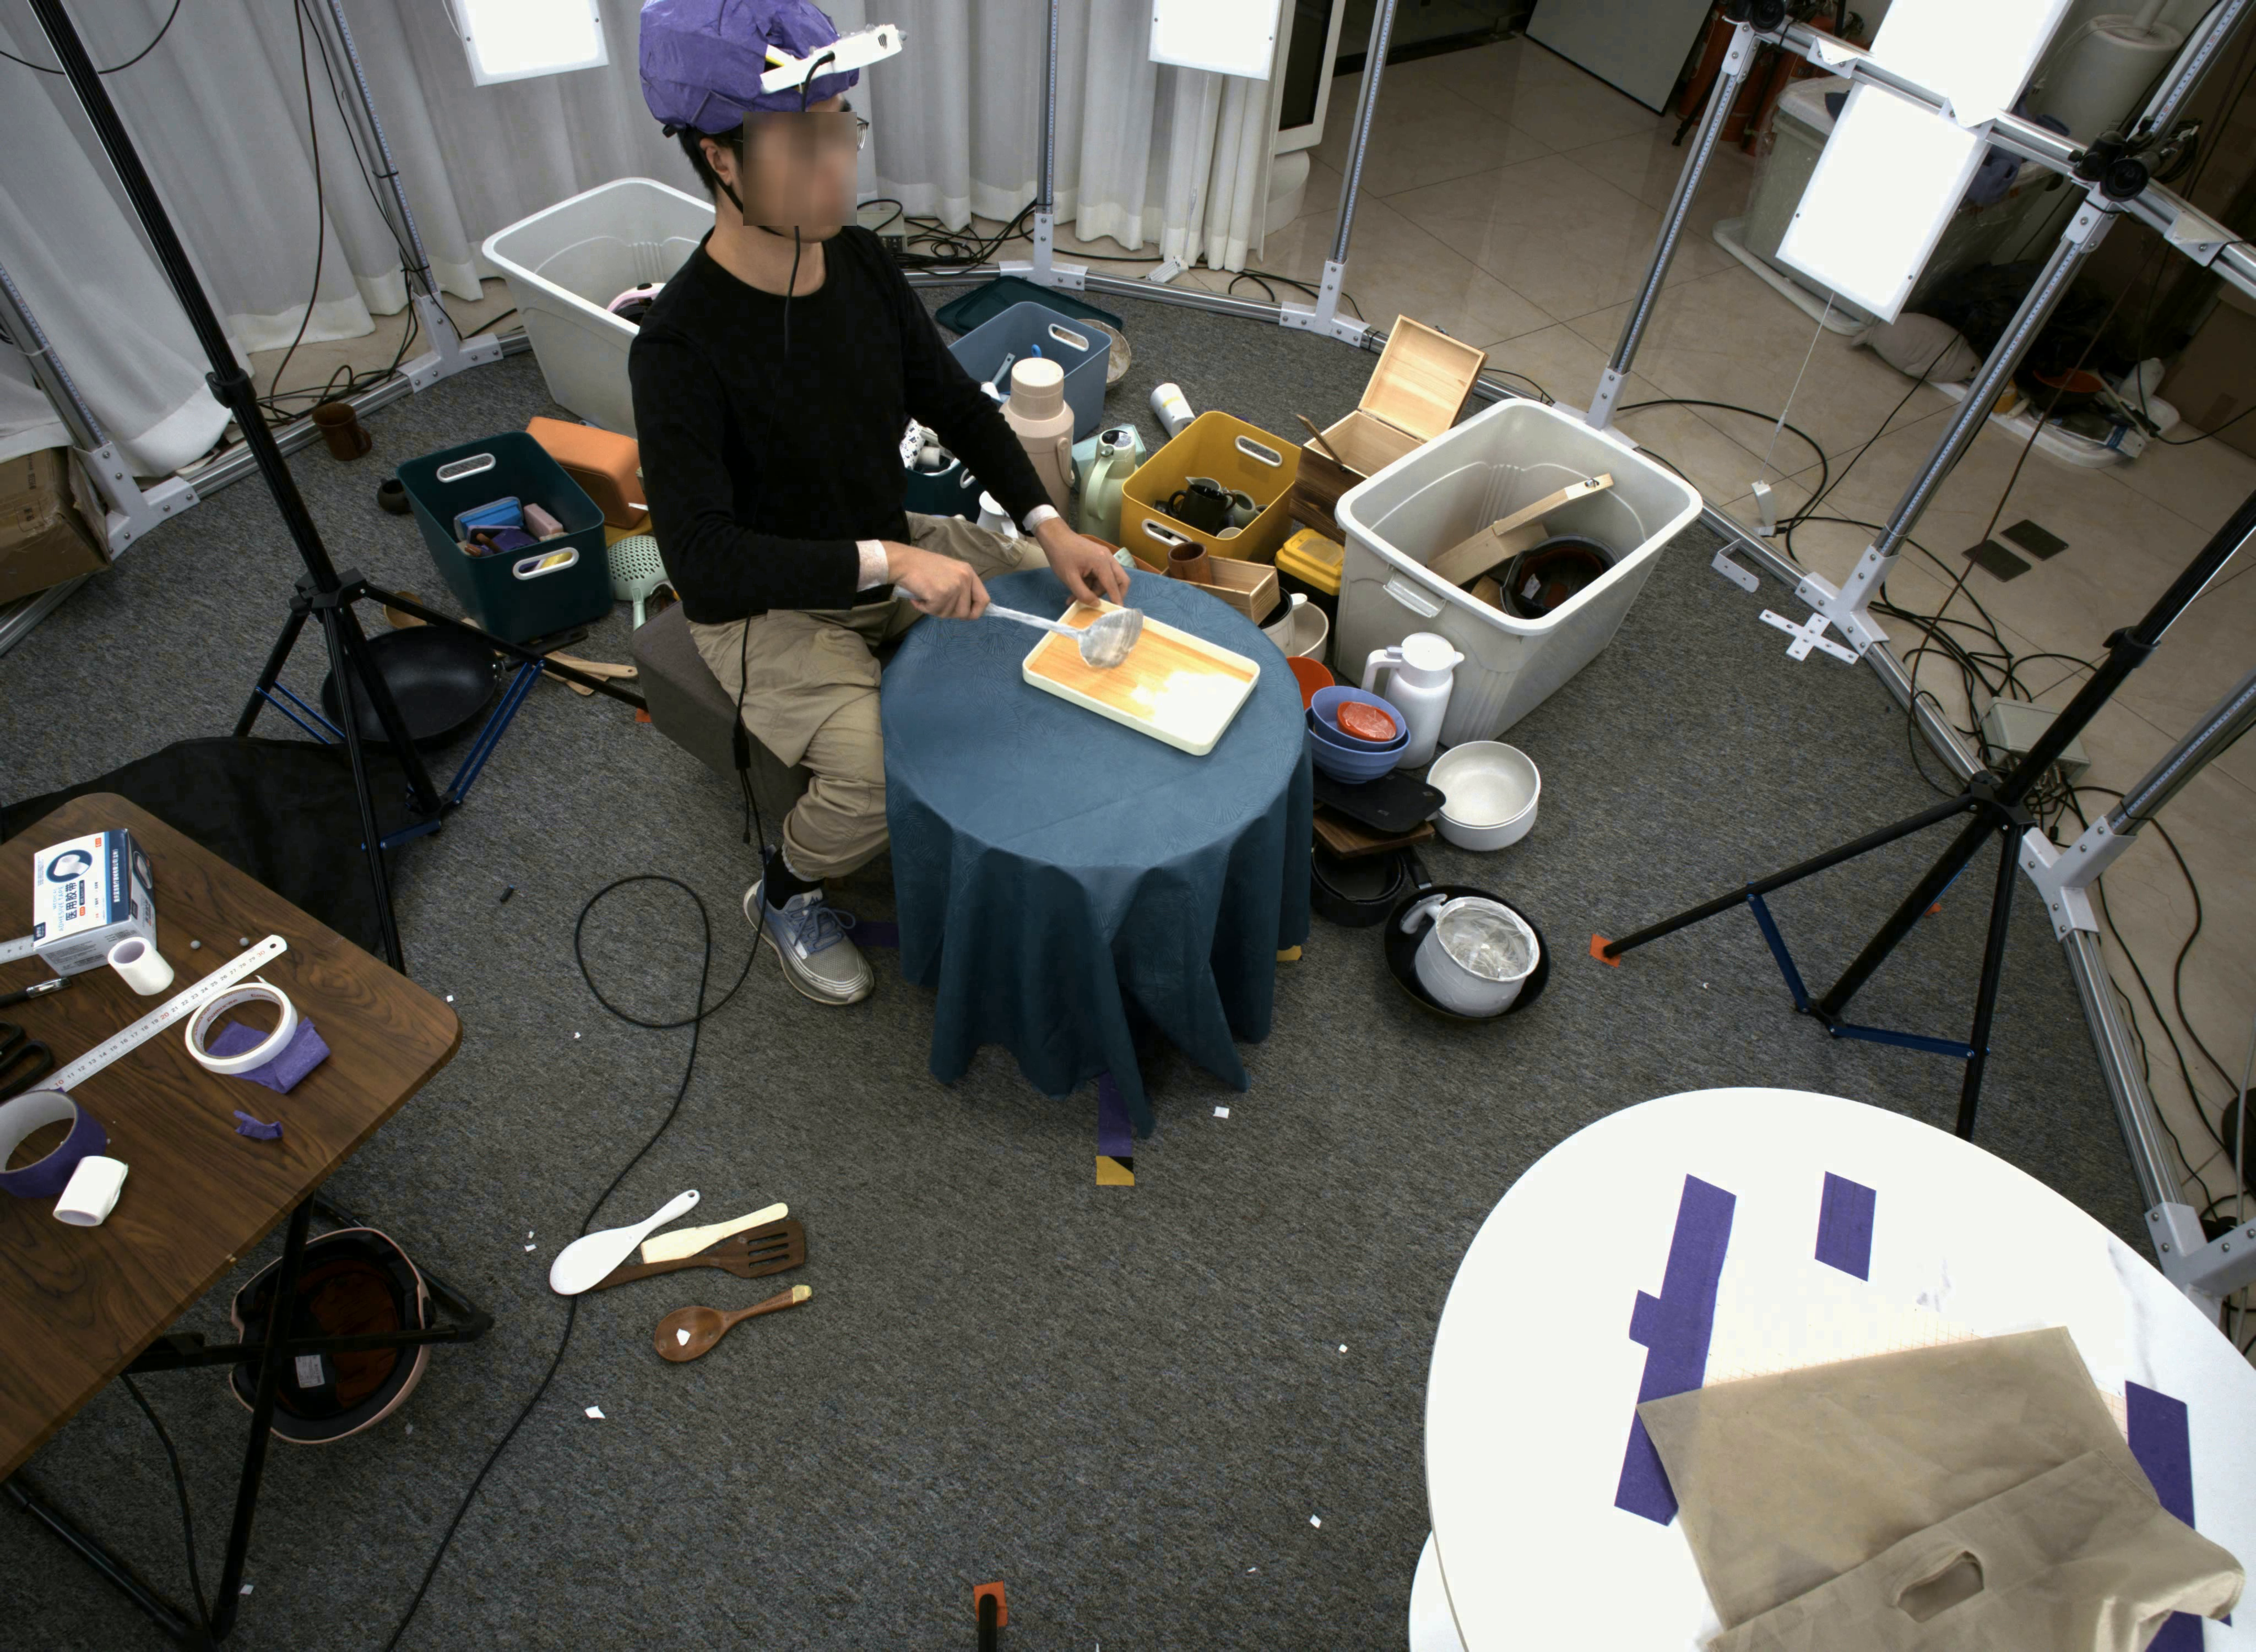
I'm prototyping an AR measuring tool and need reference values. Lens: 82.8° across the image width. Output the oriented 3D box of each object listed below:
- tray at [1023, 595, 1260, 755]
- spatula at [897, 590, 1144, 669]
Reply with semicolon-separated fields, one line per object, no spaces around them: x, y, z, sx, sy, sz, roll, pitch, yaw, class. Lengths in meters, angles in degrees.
0.019;-0.222;1.845;0.302;0.027;0.195;25;53;17;tray
-0.139;-0.282;1.756;0.362;0.097;0.046;10;31;-26;spatula
